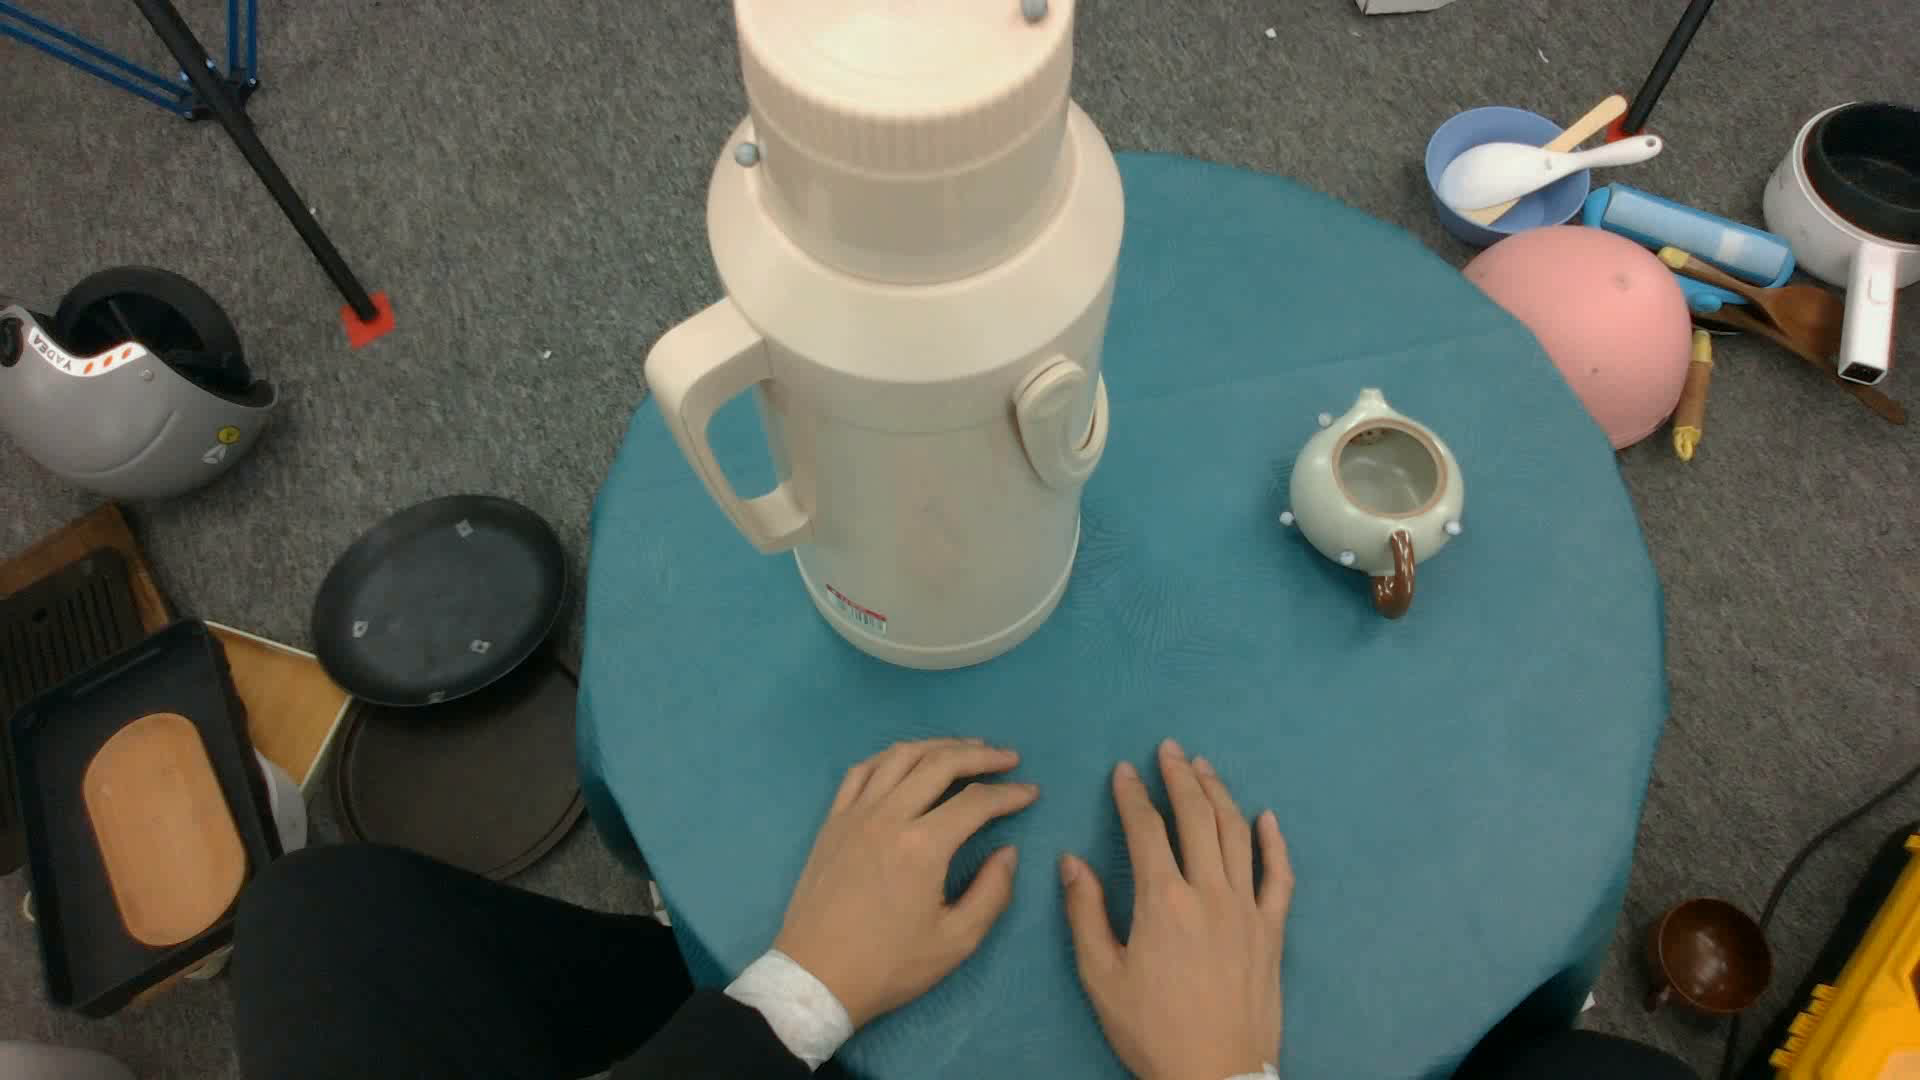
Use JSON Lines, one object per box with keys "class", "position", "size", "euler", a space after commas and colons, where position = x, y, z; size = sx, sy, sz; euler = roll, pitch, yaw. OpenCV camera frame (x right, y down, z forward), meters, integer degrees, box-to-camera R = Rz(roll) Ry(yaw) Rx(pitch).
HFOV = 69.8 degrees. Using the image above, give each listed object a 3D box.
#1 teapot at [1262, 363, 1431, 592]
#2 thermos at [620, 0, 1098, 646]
{"class": "teapot", "position": [0.216, -0.032, 0.762], "size": [0.092, 0.059, 0.128], "euler": [-3, 64, -7]}
{"class": "thermos", "position": [-0.039, -0.087, 0.601], "size": [0.207, 0.405, 0.175], "euler": [-36, 72, -16]}
